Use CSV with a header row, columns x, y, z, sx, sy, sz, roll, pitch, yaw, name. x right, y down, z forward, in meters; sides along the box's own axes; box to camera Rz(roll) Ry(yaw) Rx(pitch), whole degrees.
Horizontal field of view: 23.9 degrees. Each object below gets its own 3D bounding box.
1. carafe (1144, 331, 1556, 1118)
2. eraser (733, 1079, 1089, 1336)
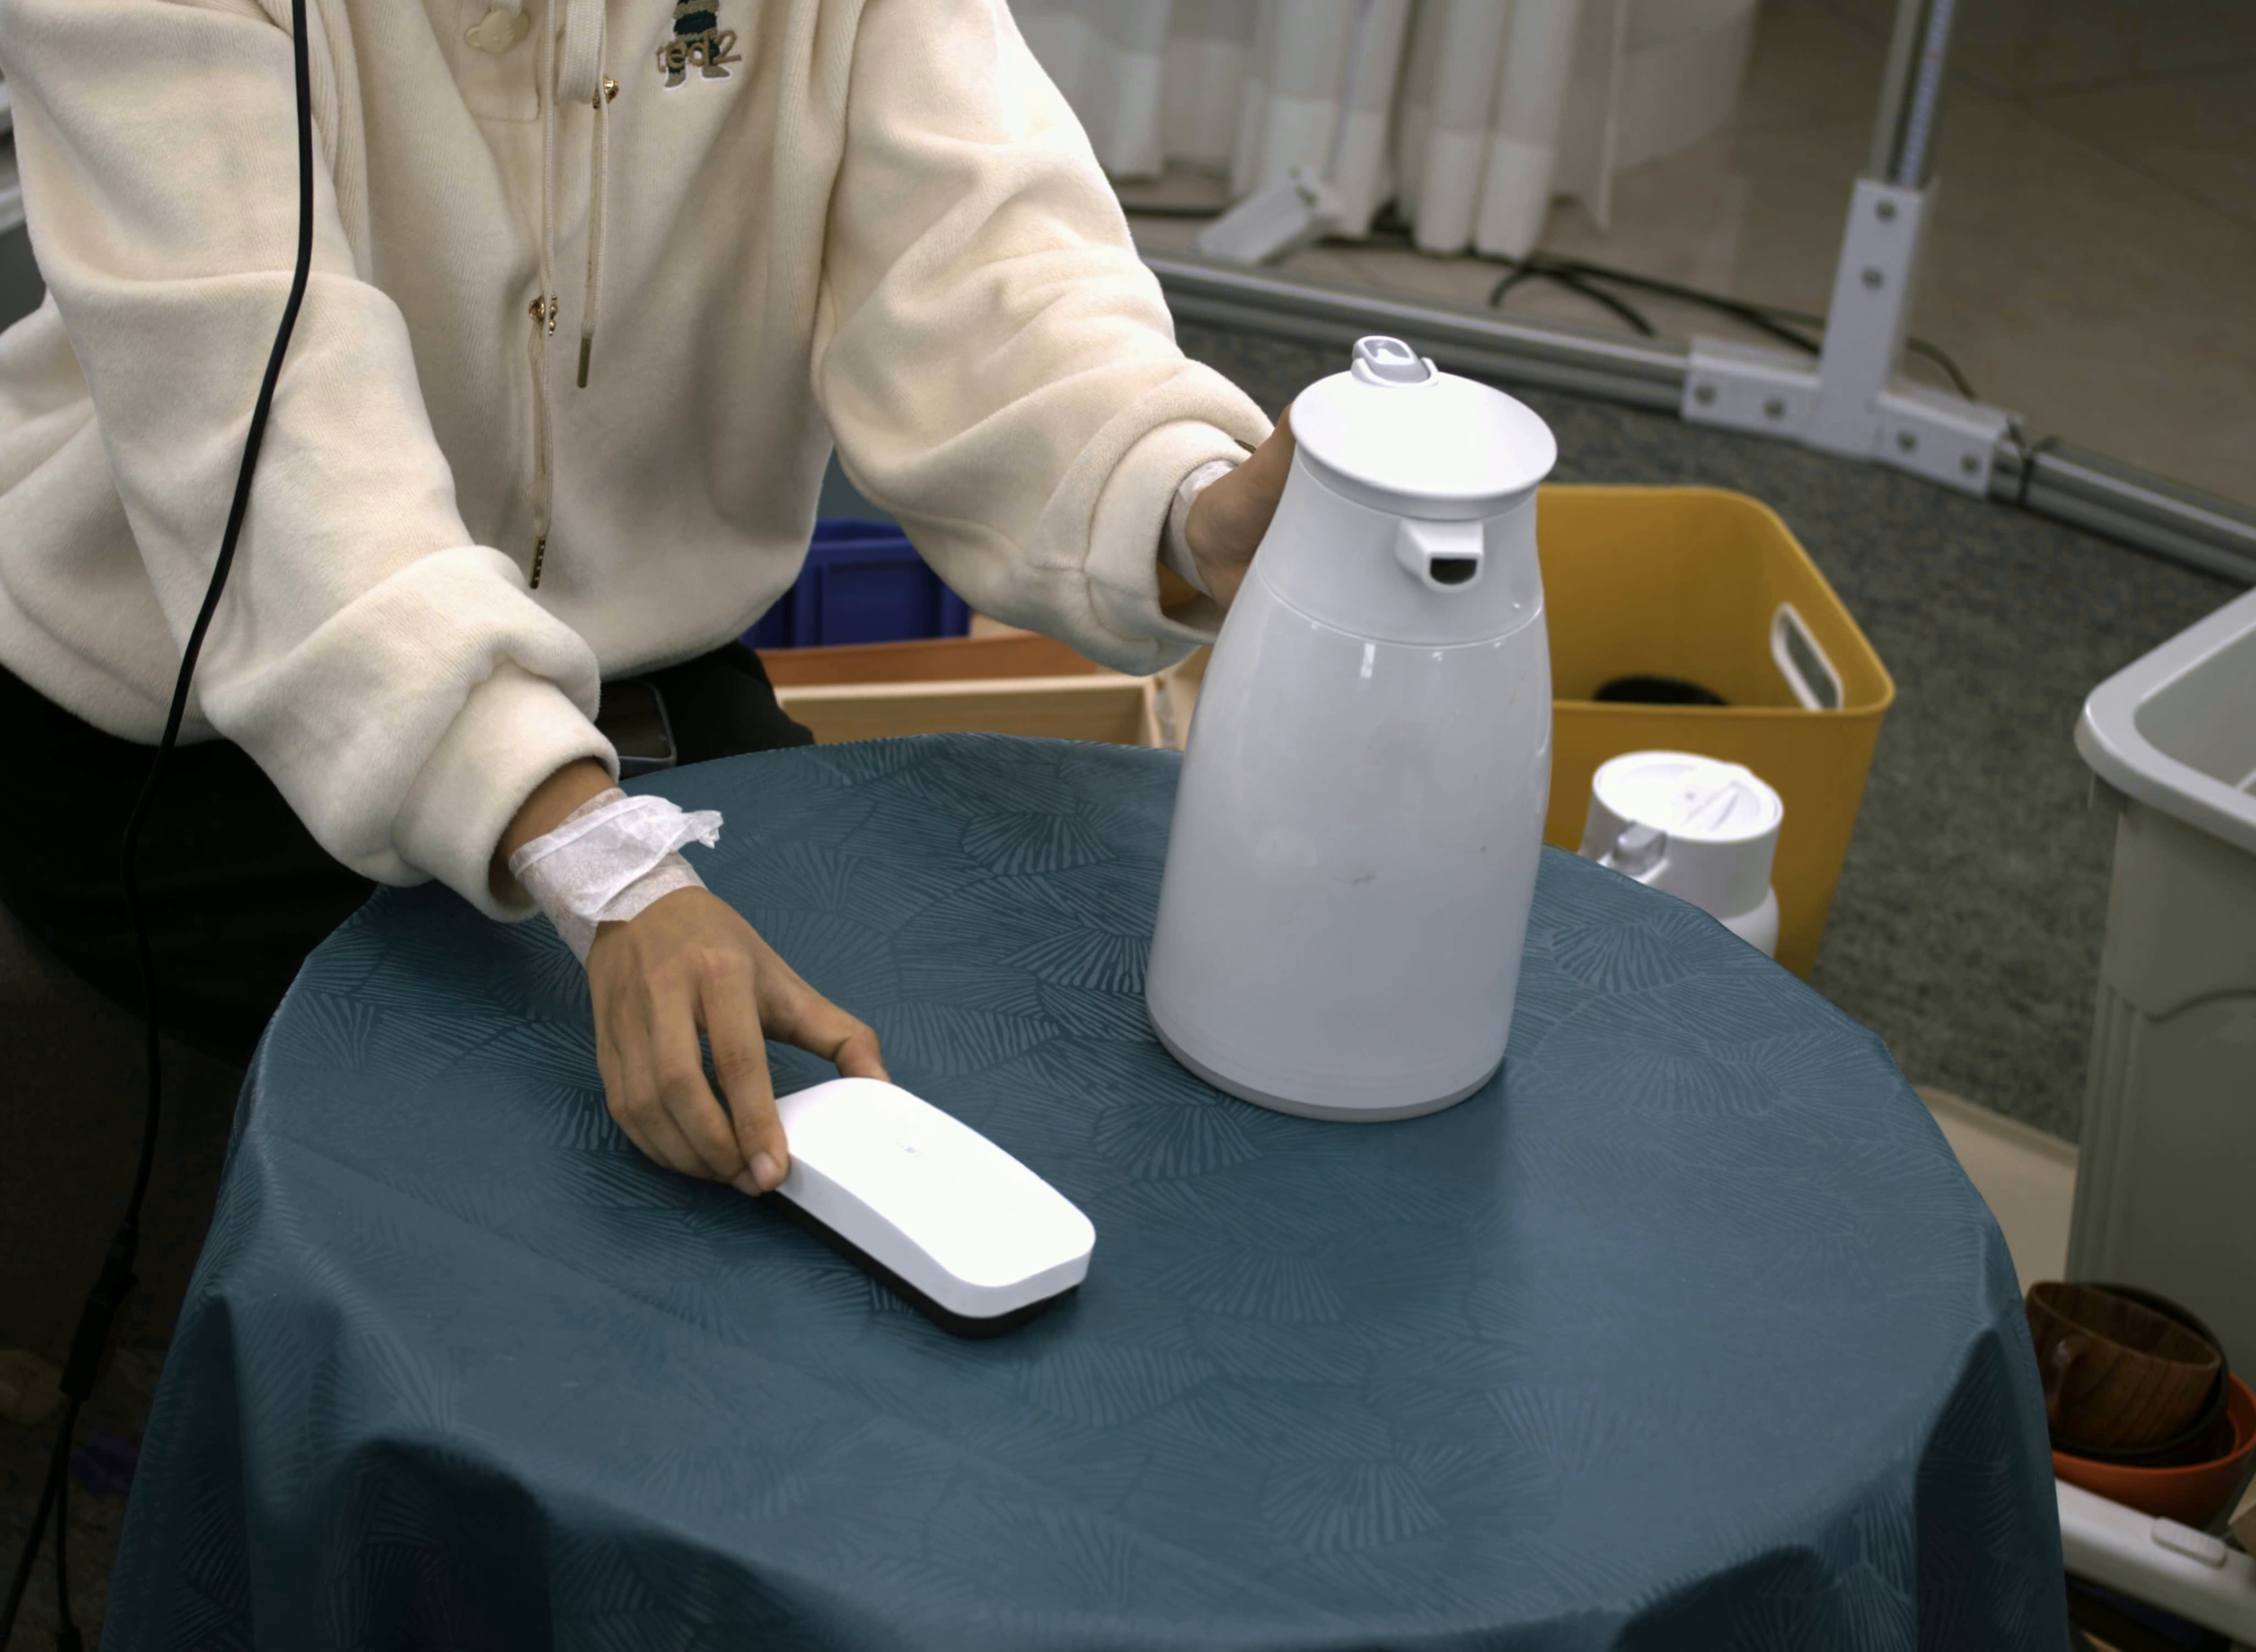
x,y,z,sx,sy,sz,roll,pitch,yaw,name
0.081,-0.046,1.868,0.132,0.248,0.169,0,30,-12,carafe
-0.072,0.122,1.755,0.063,0.034,0.132,-15,34,-40,eraser
